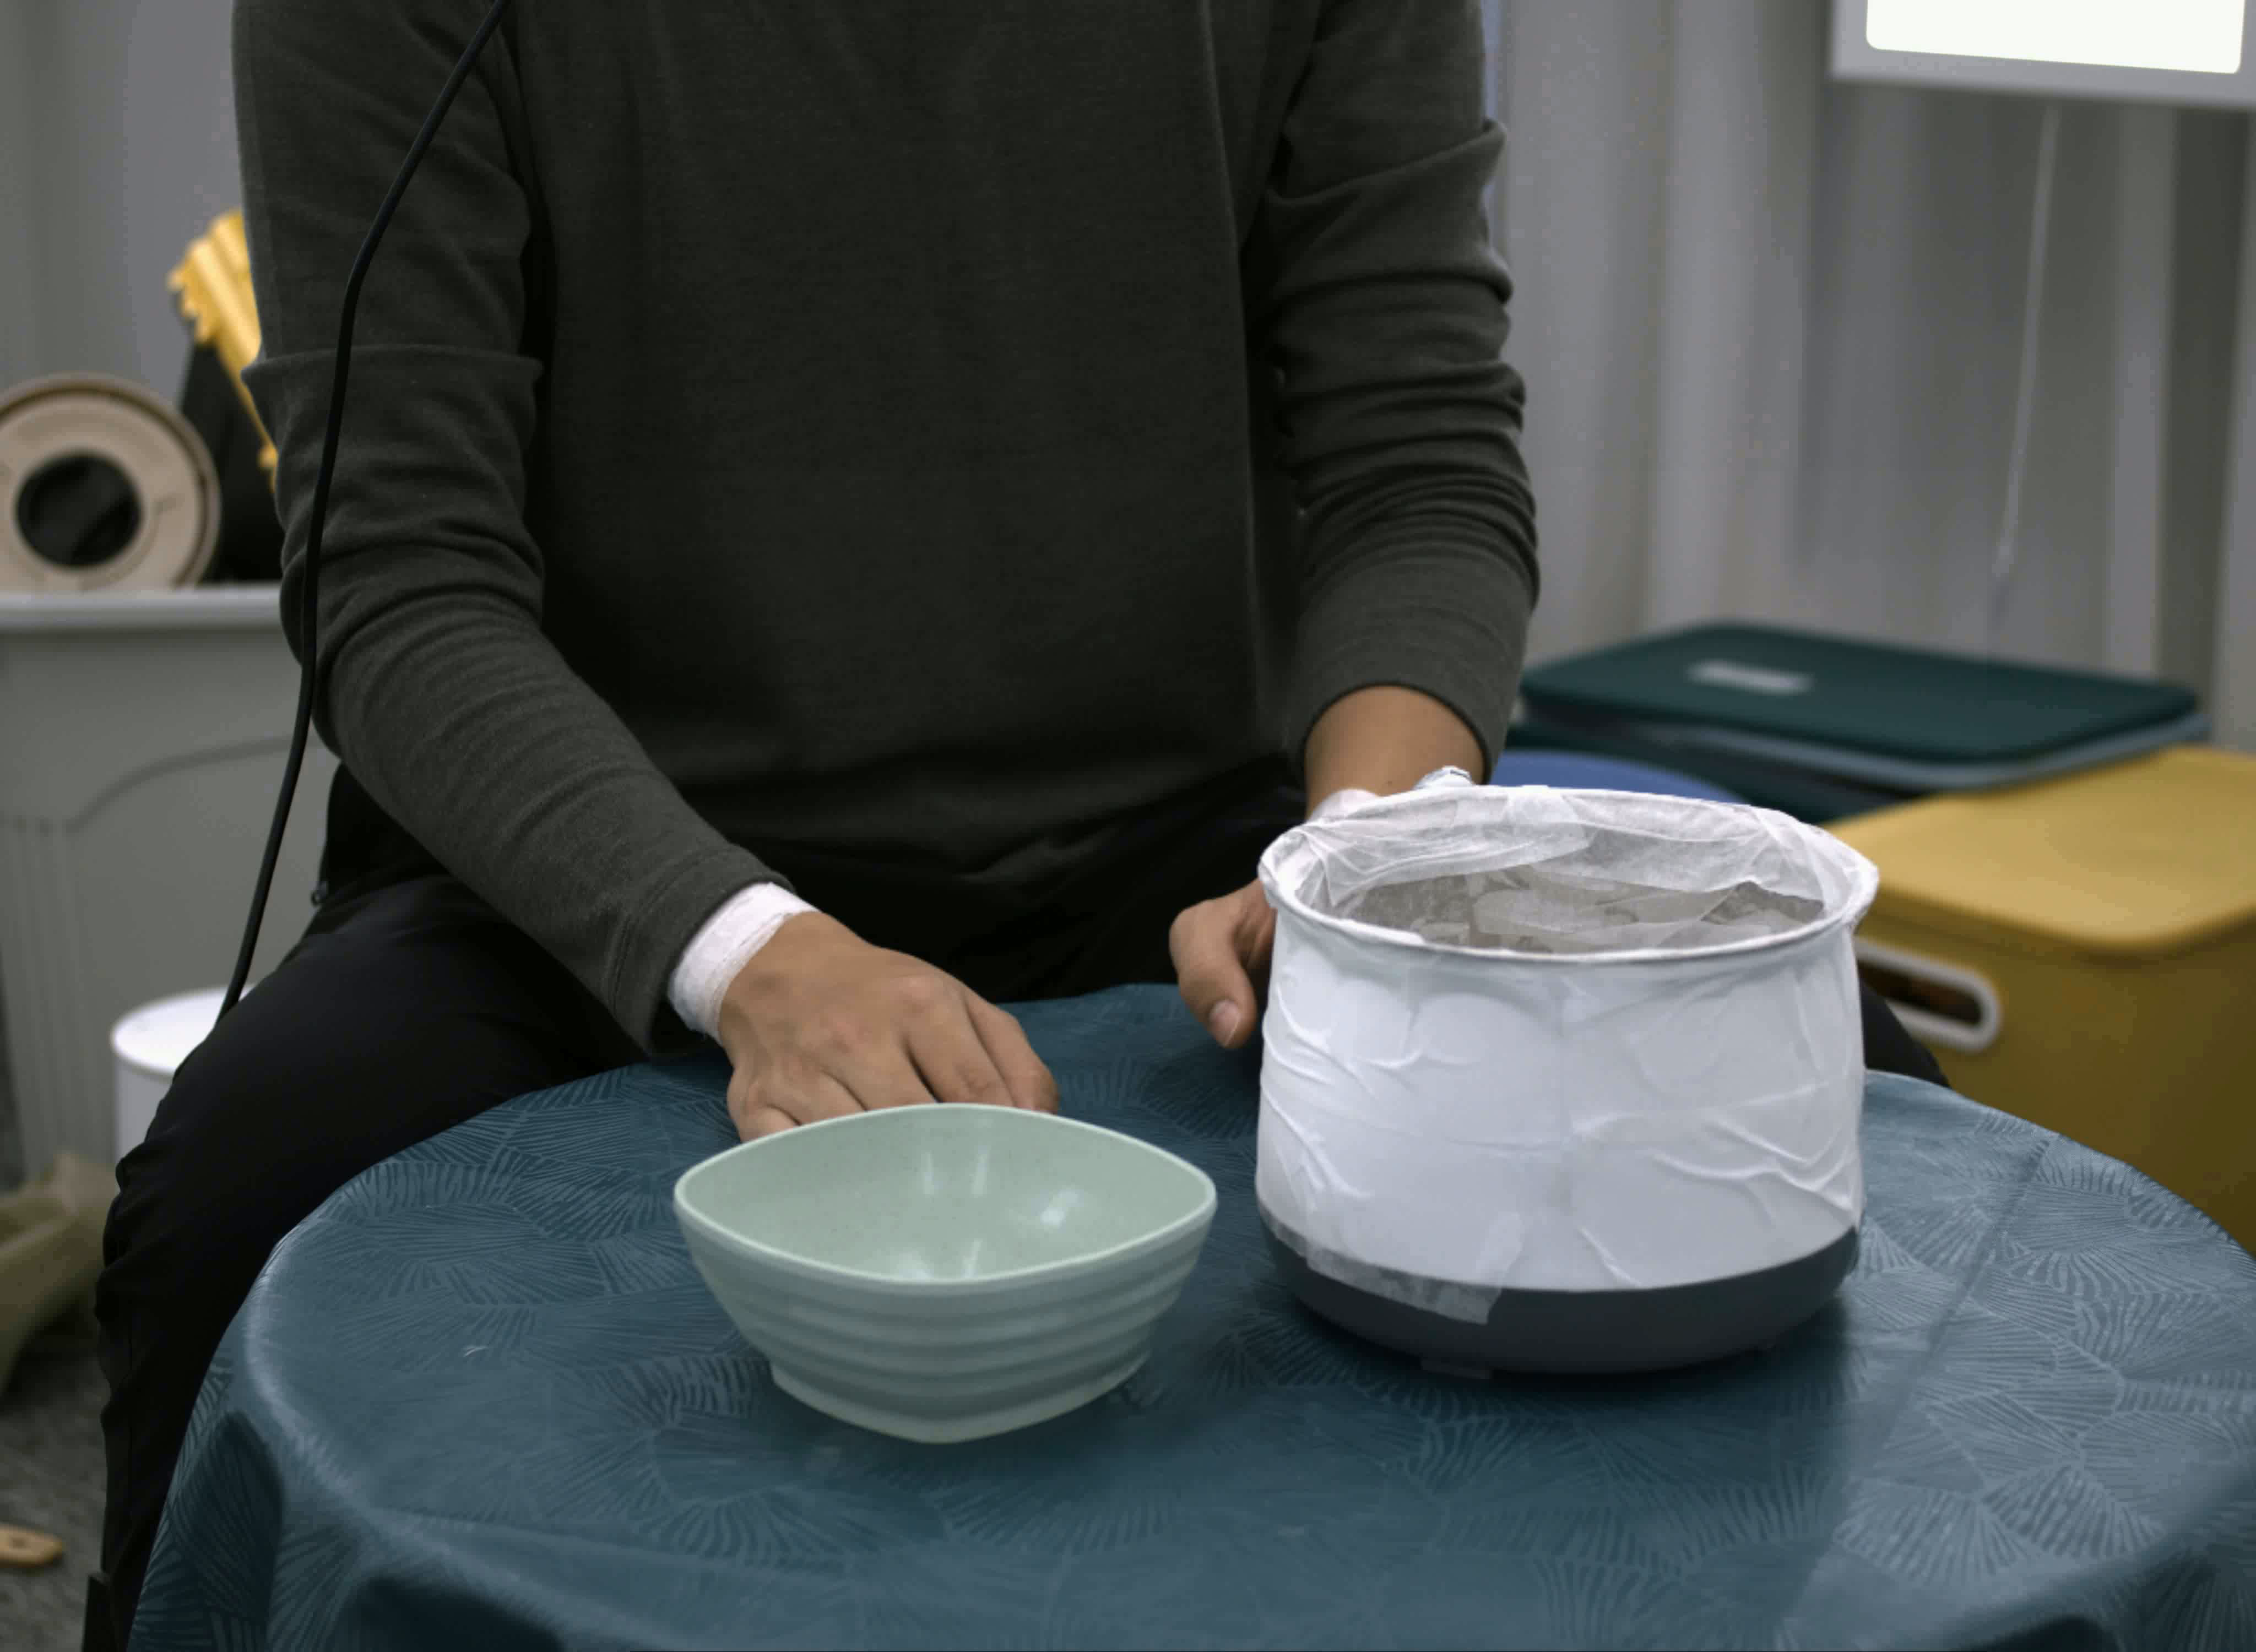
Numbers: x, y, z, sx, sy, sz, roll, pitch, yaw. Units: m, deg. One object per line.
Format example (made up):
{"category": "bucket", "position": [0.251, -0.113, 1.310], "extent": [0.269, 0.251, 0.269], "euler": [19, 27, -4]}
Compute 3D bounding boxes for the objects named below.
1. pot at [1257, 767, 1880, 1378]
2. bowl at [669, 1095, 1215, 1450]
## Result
{"category": "pot", "position": [0.117, 0.066, 1.541], "extent": [0.179, 0.137, 0.231], "euler": [-4, 16, -18]}
{"category": "bowl", "position": [-0.052, 0.127, 1.462], "extent": [0.151, 0.059, 0.150], "euler": [1, 17, 0]}
